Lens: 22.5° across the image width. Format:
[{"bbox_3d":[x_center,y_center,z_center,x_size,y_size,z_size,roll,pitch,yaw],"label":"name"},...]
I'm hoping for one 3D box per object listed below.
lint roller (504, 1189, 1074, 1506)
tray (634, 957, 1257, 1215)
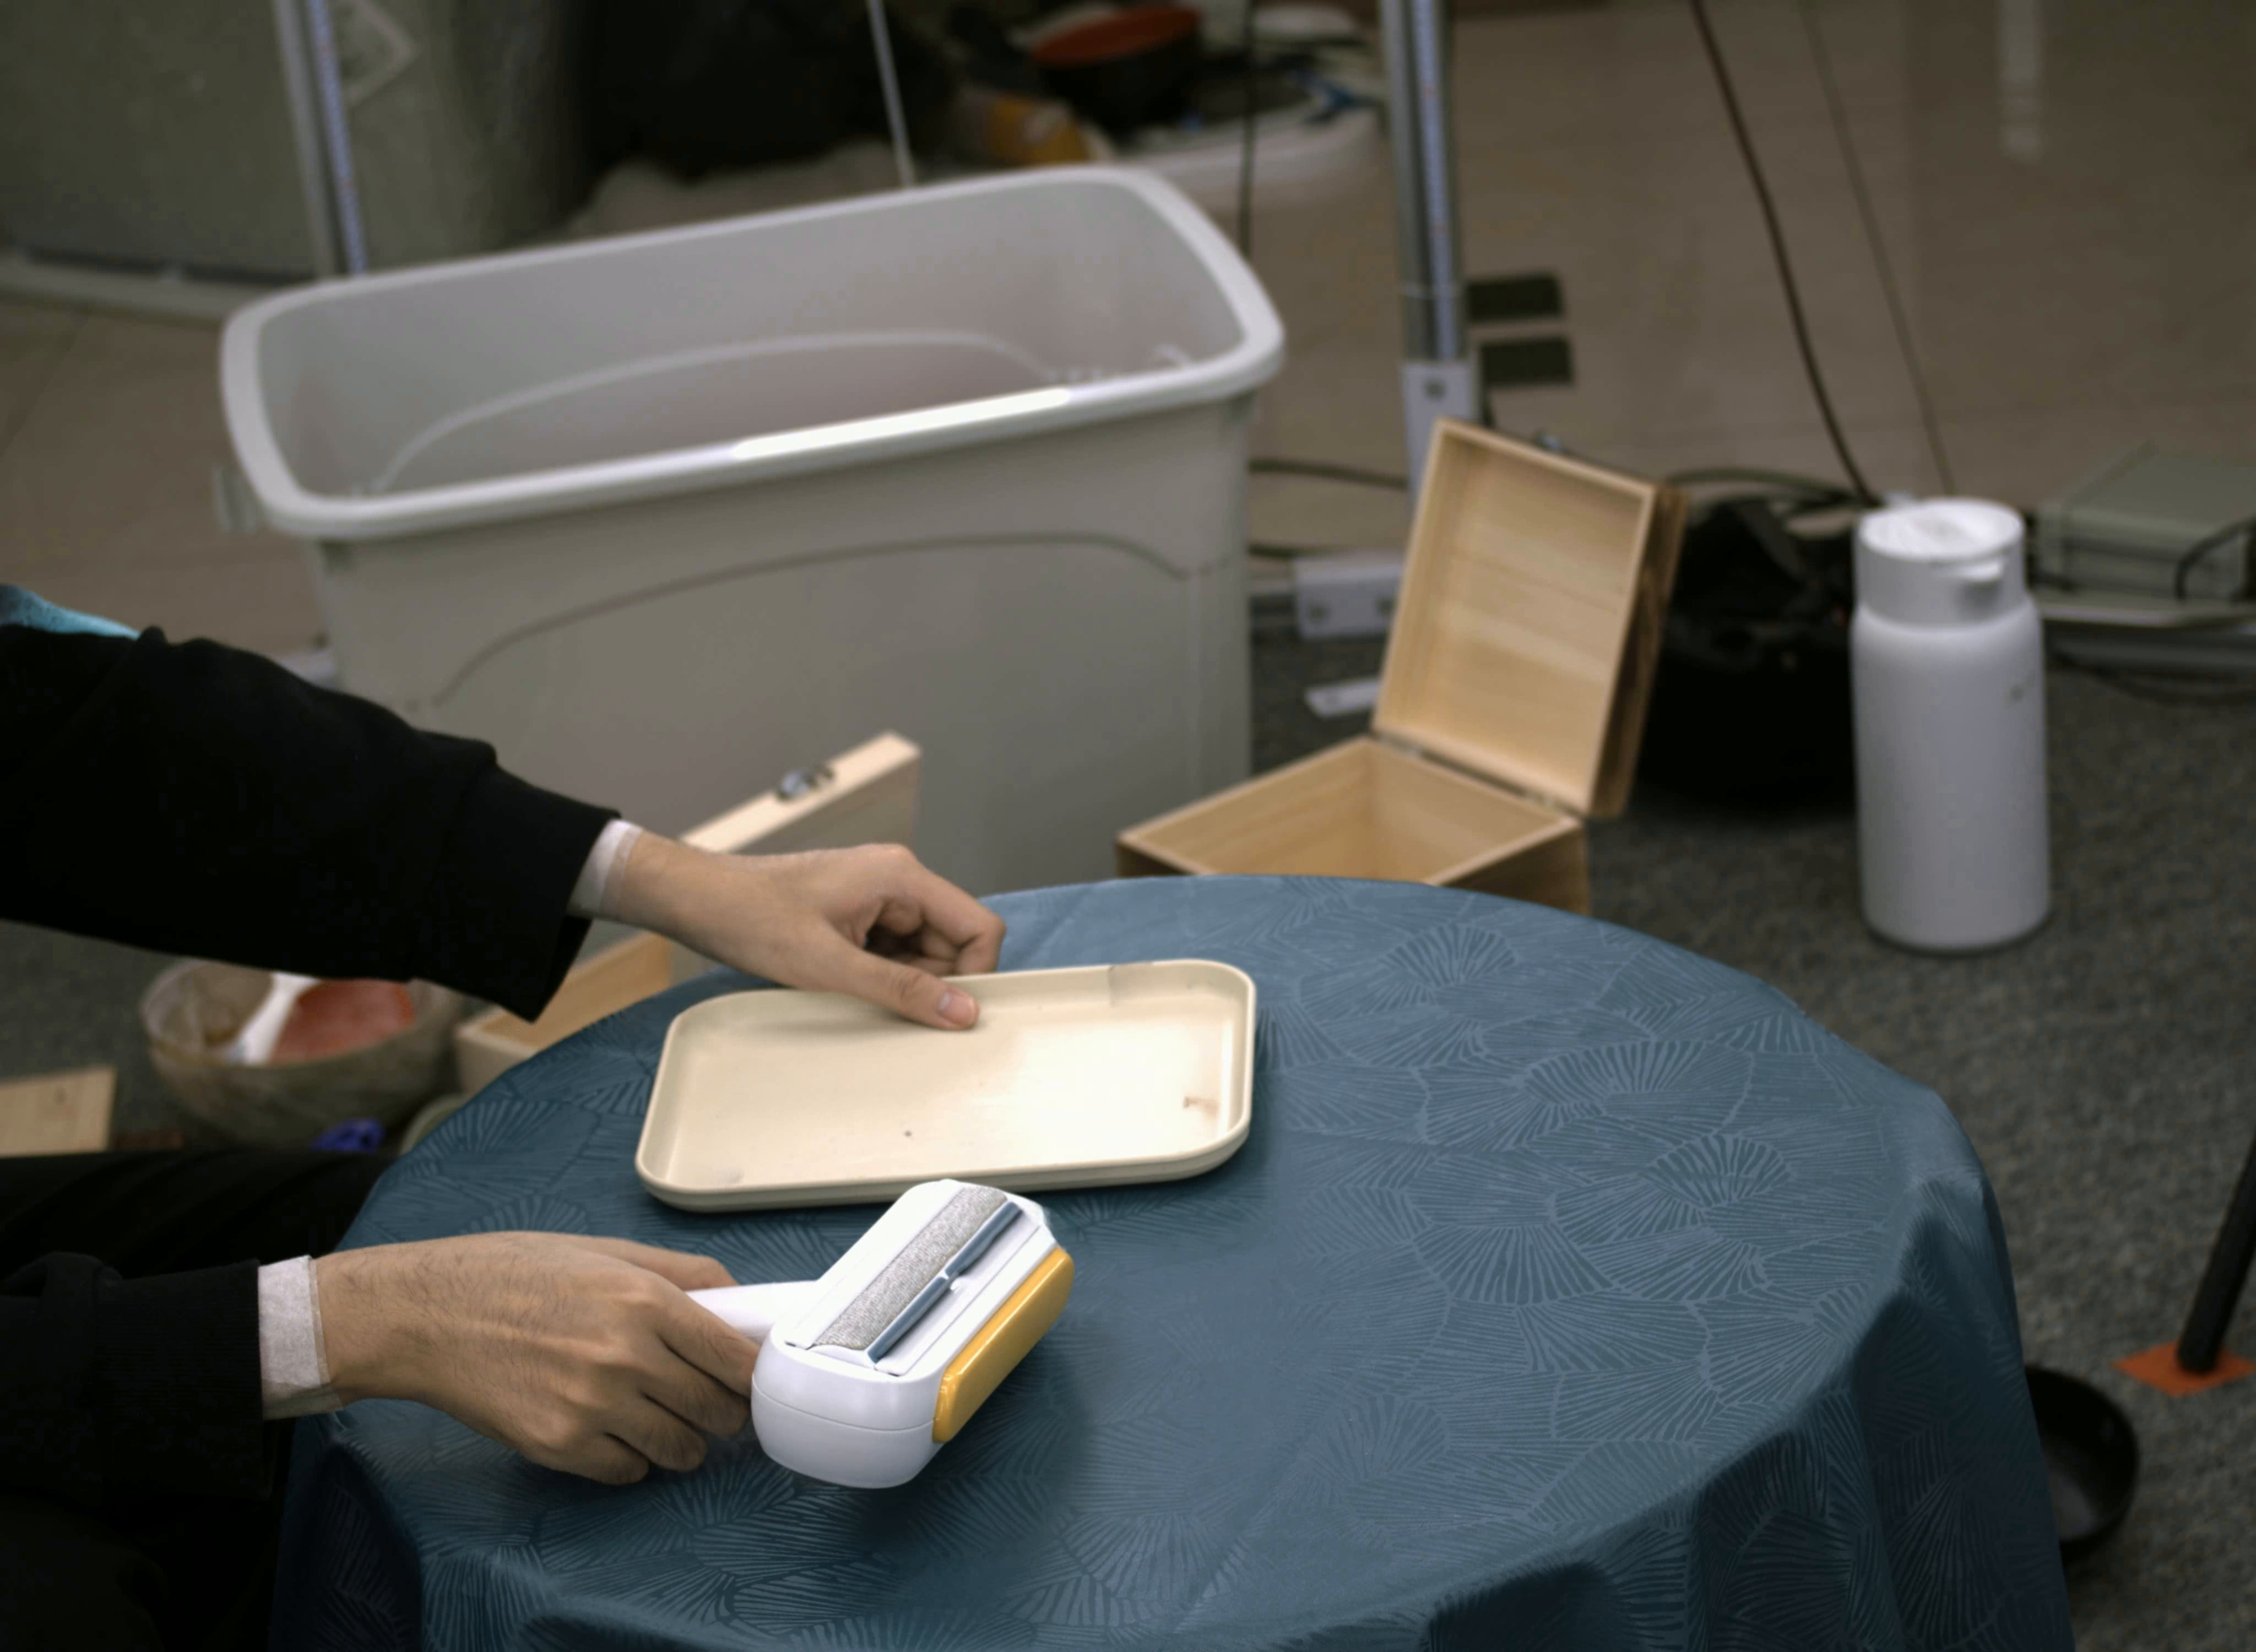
[{"bbox_3d":[-0.132,0.179,2.000,0.192,0.075,0.190,6,22,19],"label":"lint roller"},{"bbox_3d":[-0.069,0.103,2.218,0.239,0.018,0.169,-4,25,5],"label":"tray"}]
